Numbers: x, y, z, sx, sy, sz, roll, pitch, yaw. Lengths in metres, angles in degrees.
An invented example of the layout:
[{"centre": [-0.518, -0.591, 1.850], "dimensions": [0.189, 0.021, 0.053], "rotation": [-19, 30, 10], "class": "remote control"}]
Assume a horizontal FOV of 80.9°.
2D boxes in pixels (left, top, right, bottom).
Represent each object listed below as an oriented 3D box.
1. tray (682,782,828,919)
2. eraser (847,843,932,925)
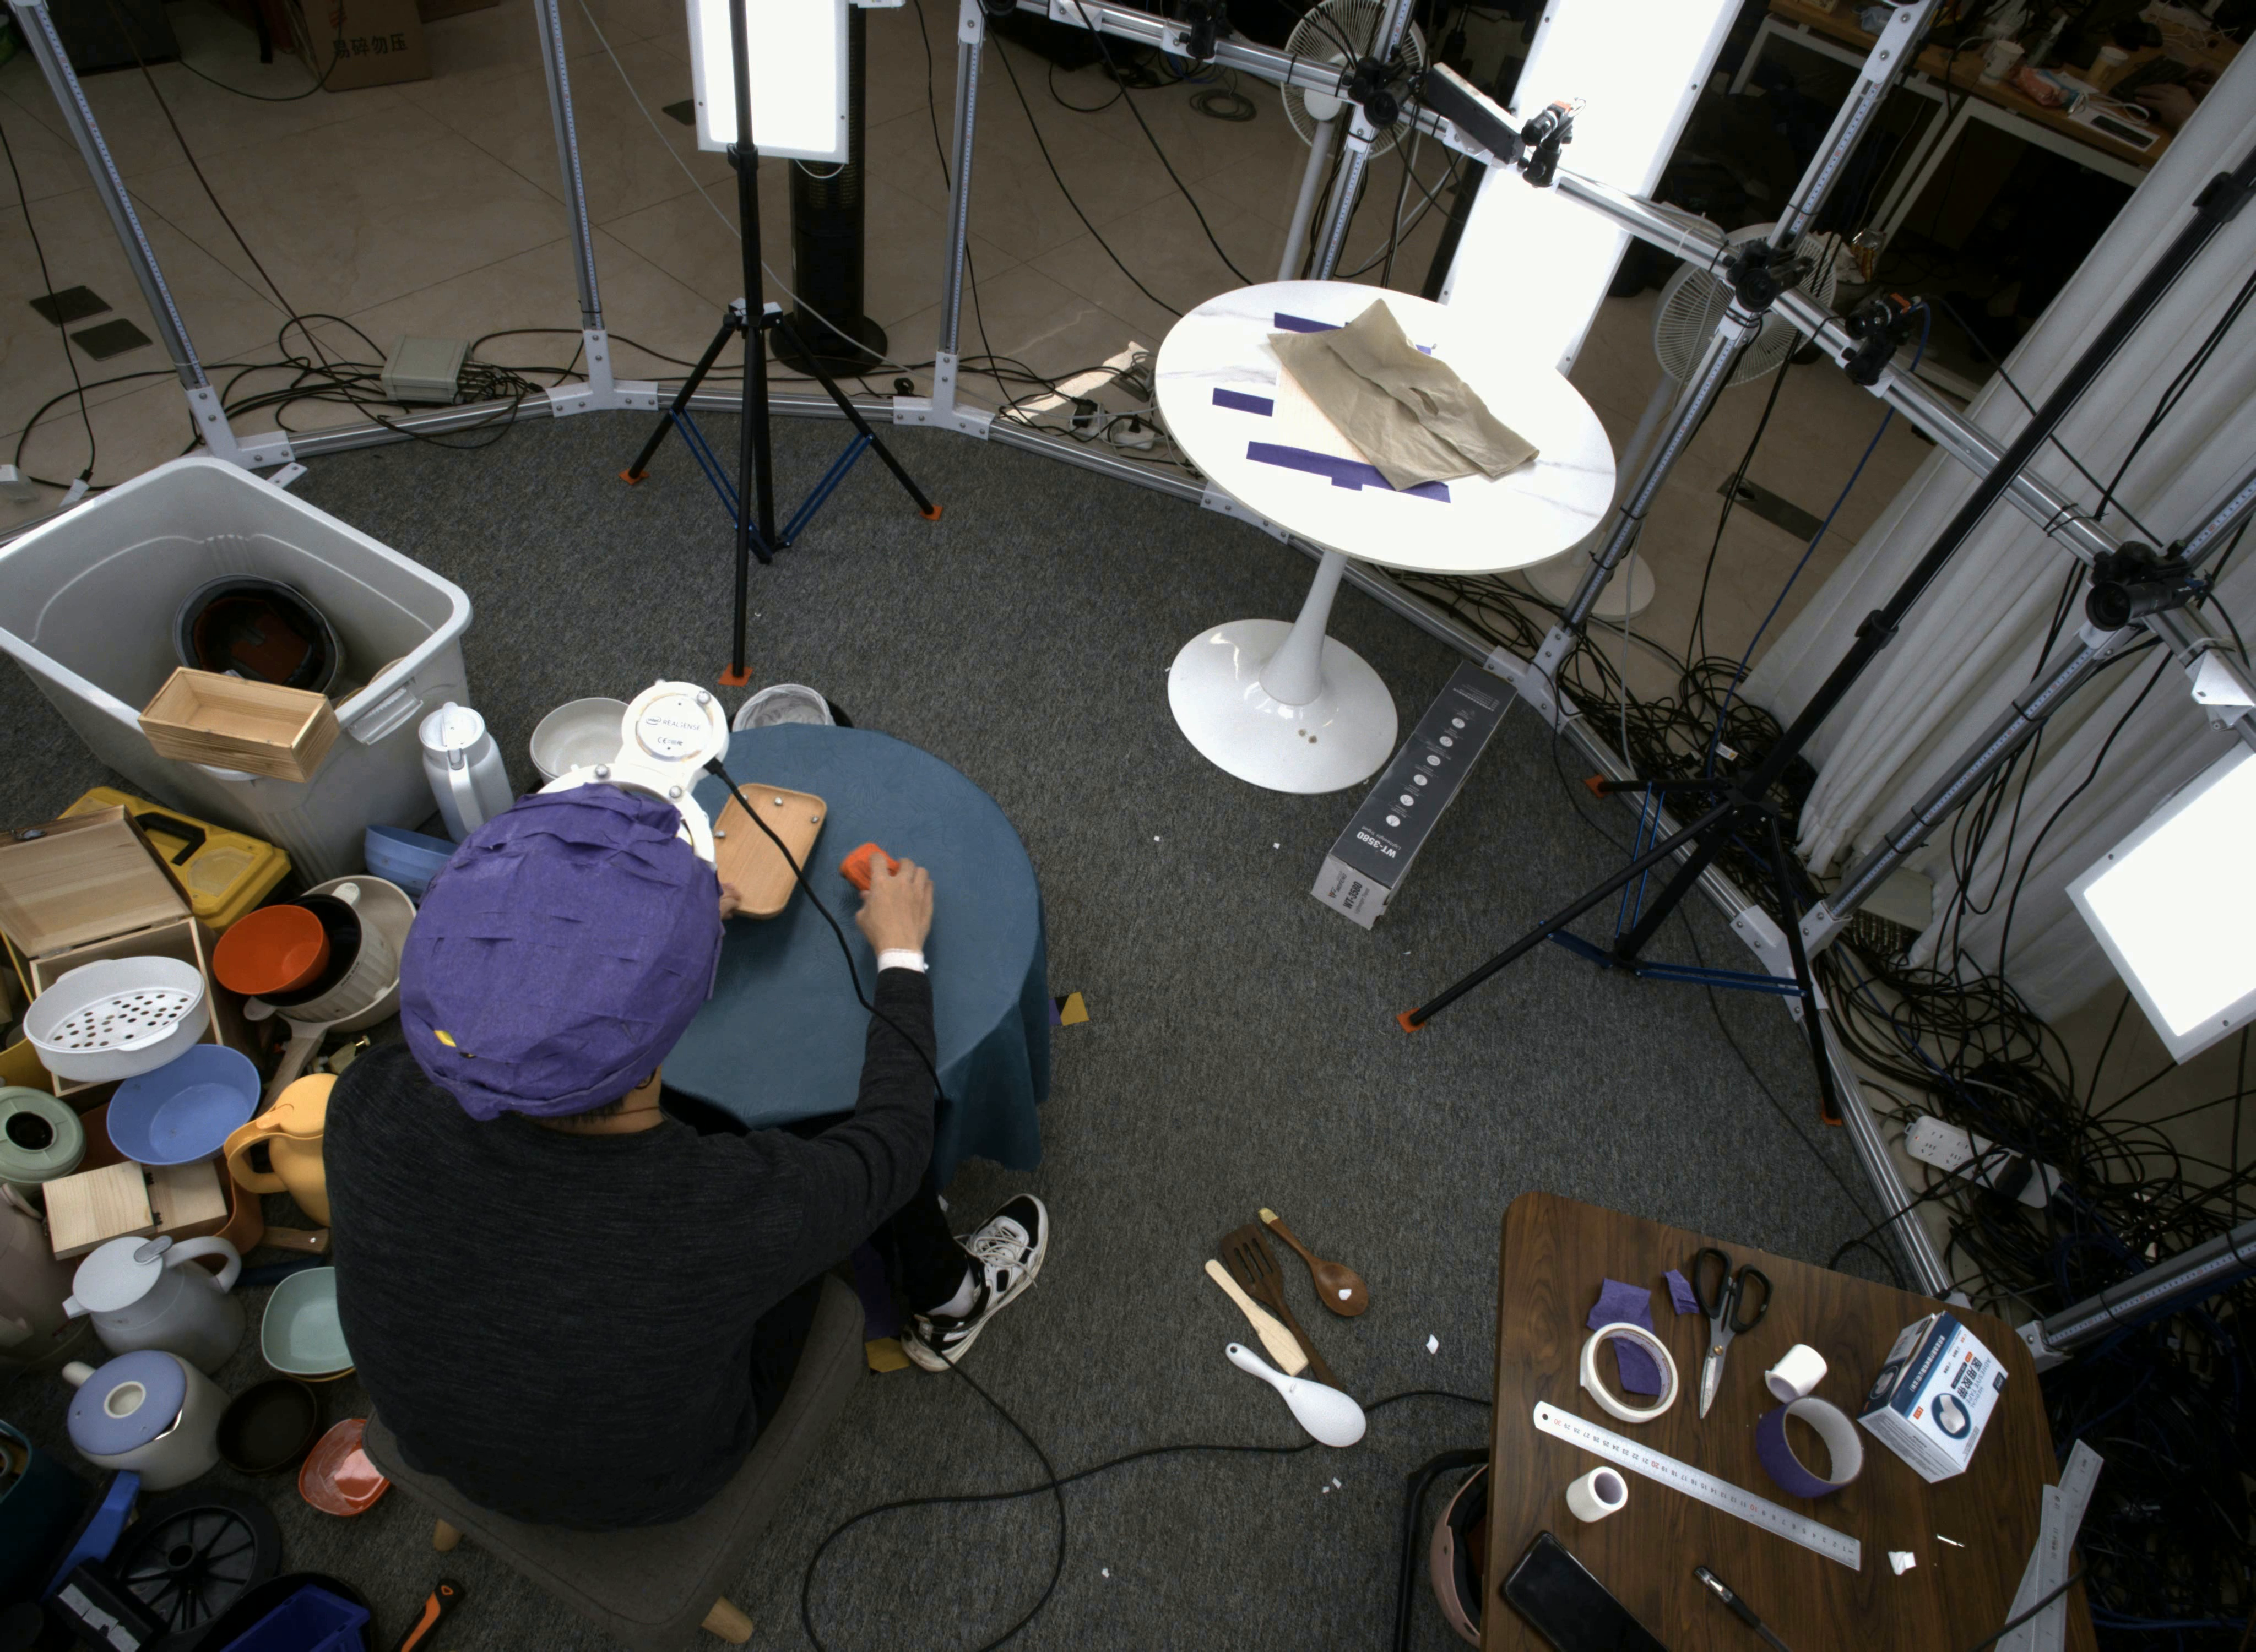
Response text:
[{"centre": [-0.468, 0.027, 1.639], "dimensions": [0.129, 0.023, 0.246], "rotation": [11, 38, -3], "class": "tray"}, {"centre": [-0.304, 0.071, 1.651], "dimensions": [0.106, 0.023, 0.059], "rotation": [40, 55, 11], "class": "eraser"}]
